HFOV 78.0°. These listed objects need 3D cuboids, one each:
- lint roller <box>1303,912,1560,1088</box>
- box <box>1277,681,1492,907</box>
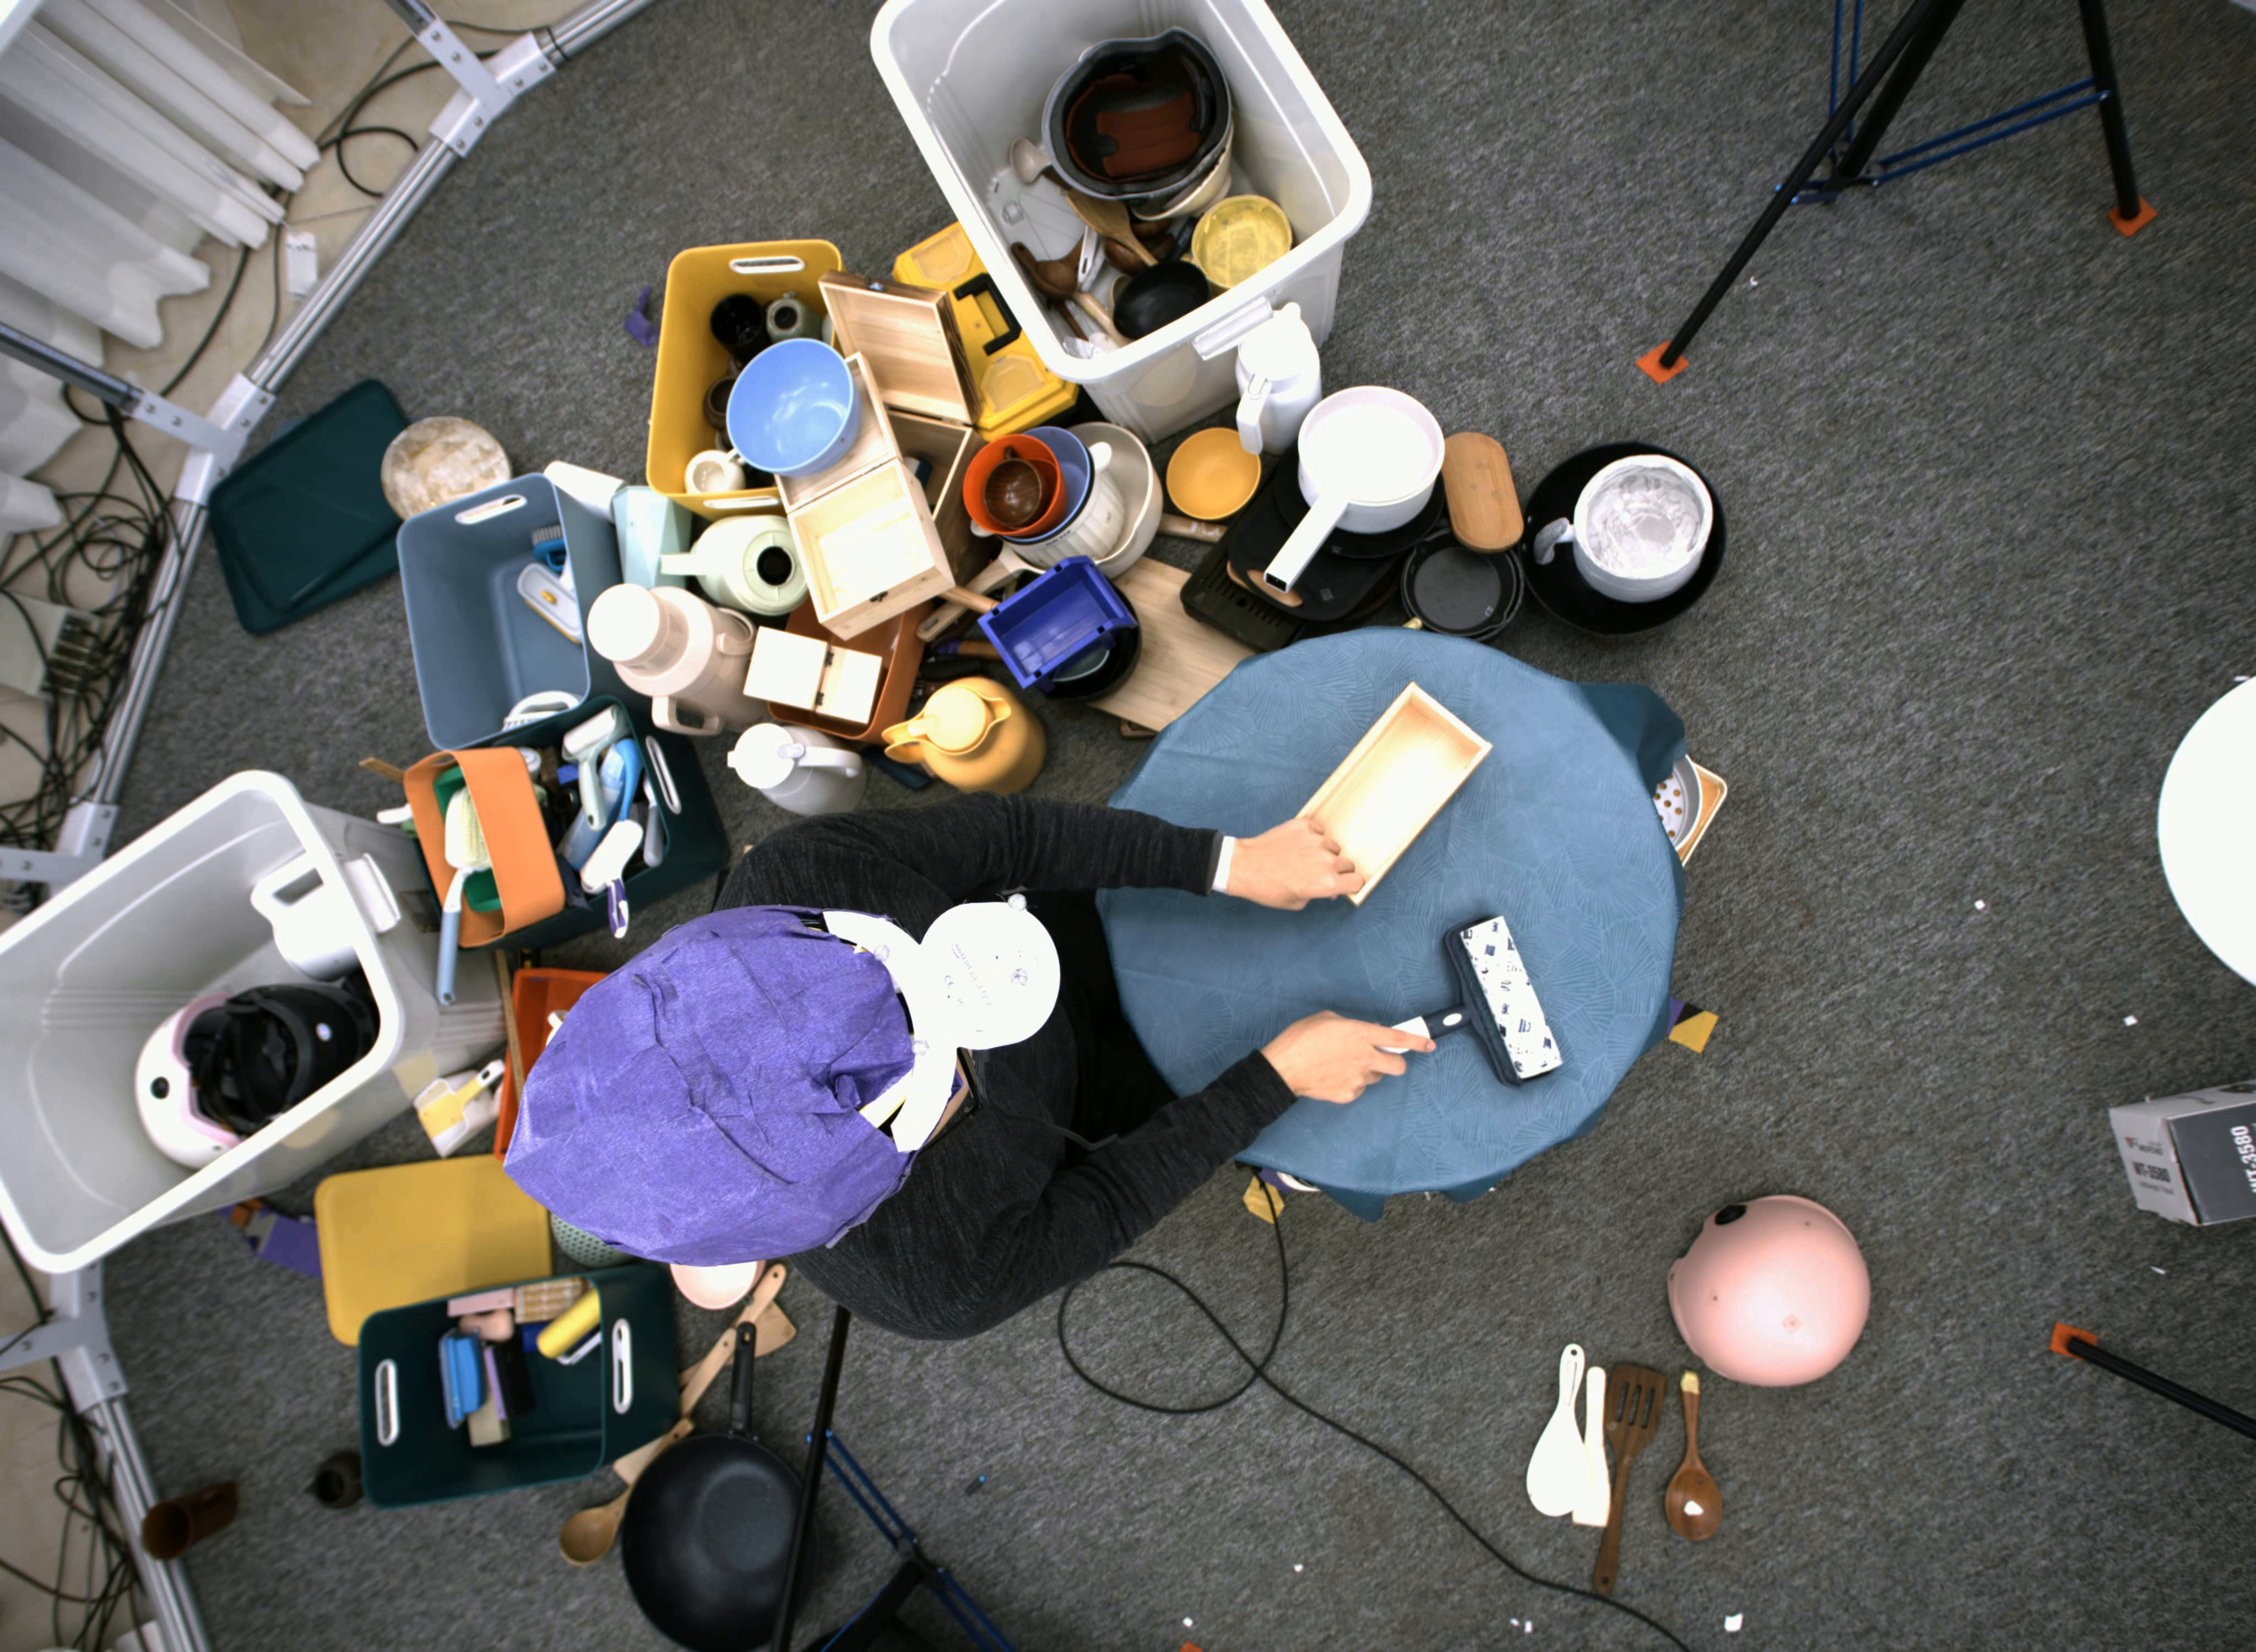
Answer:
[{"bbox_3d":[0.298,0.211,1.415,0.248,0.050,0.175,-22,84,4],"label":"lint roller"},{"bbox_3d":[0.265,-0.032,1.426,0.107,0.080,0.212,41,94,11],"label":"box"}]
